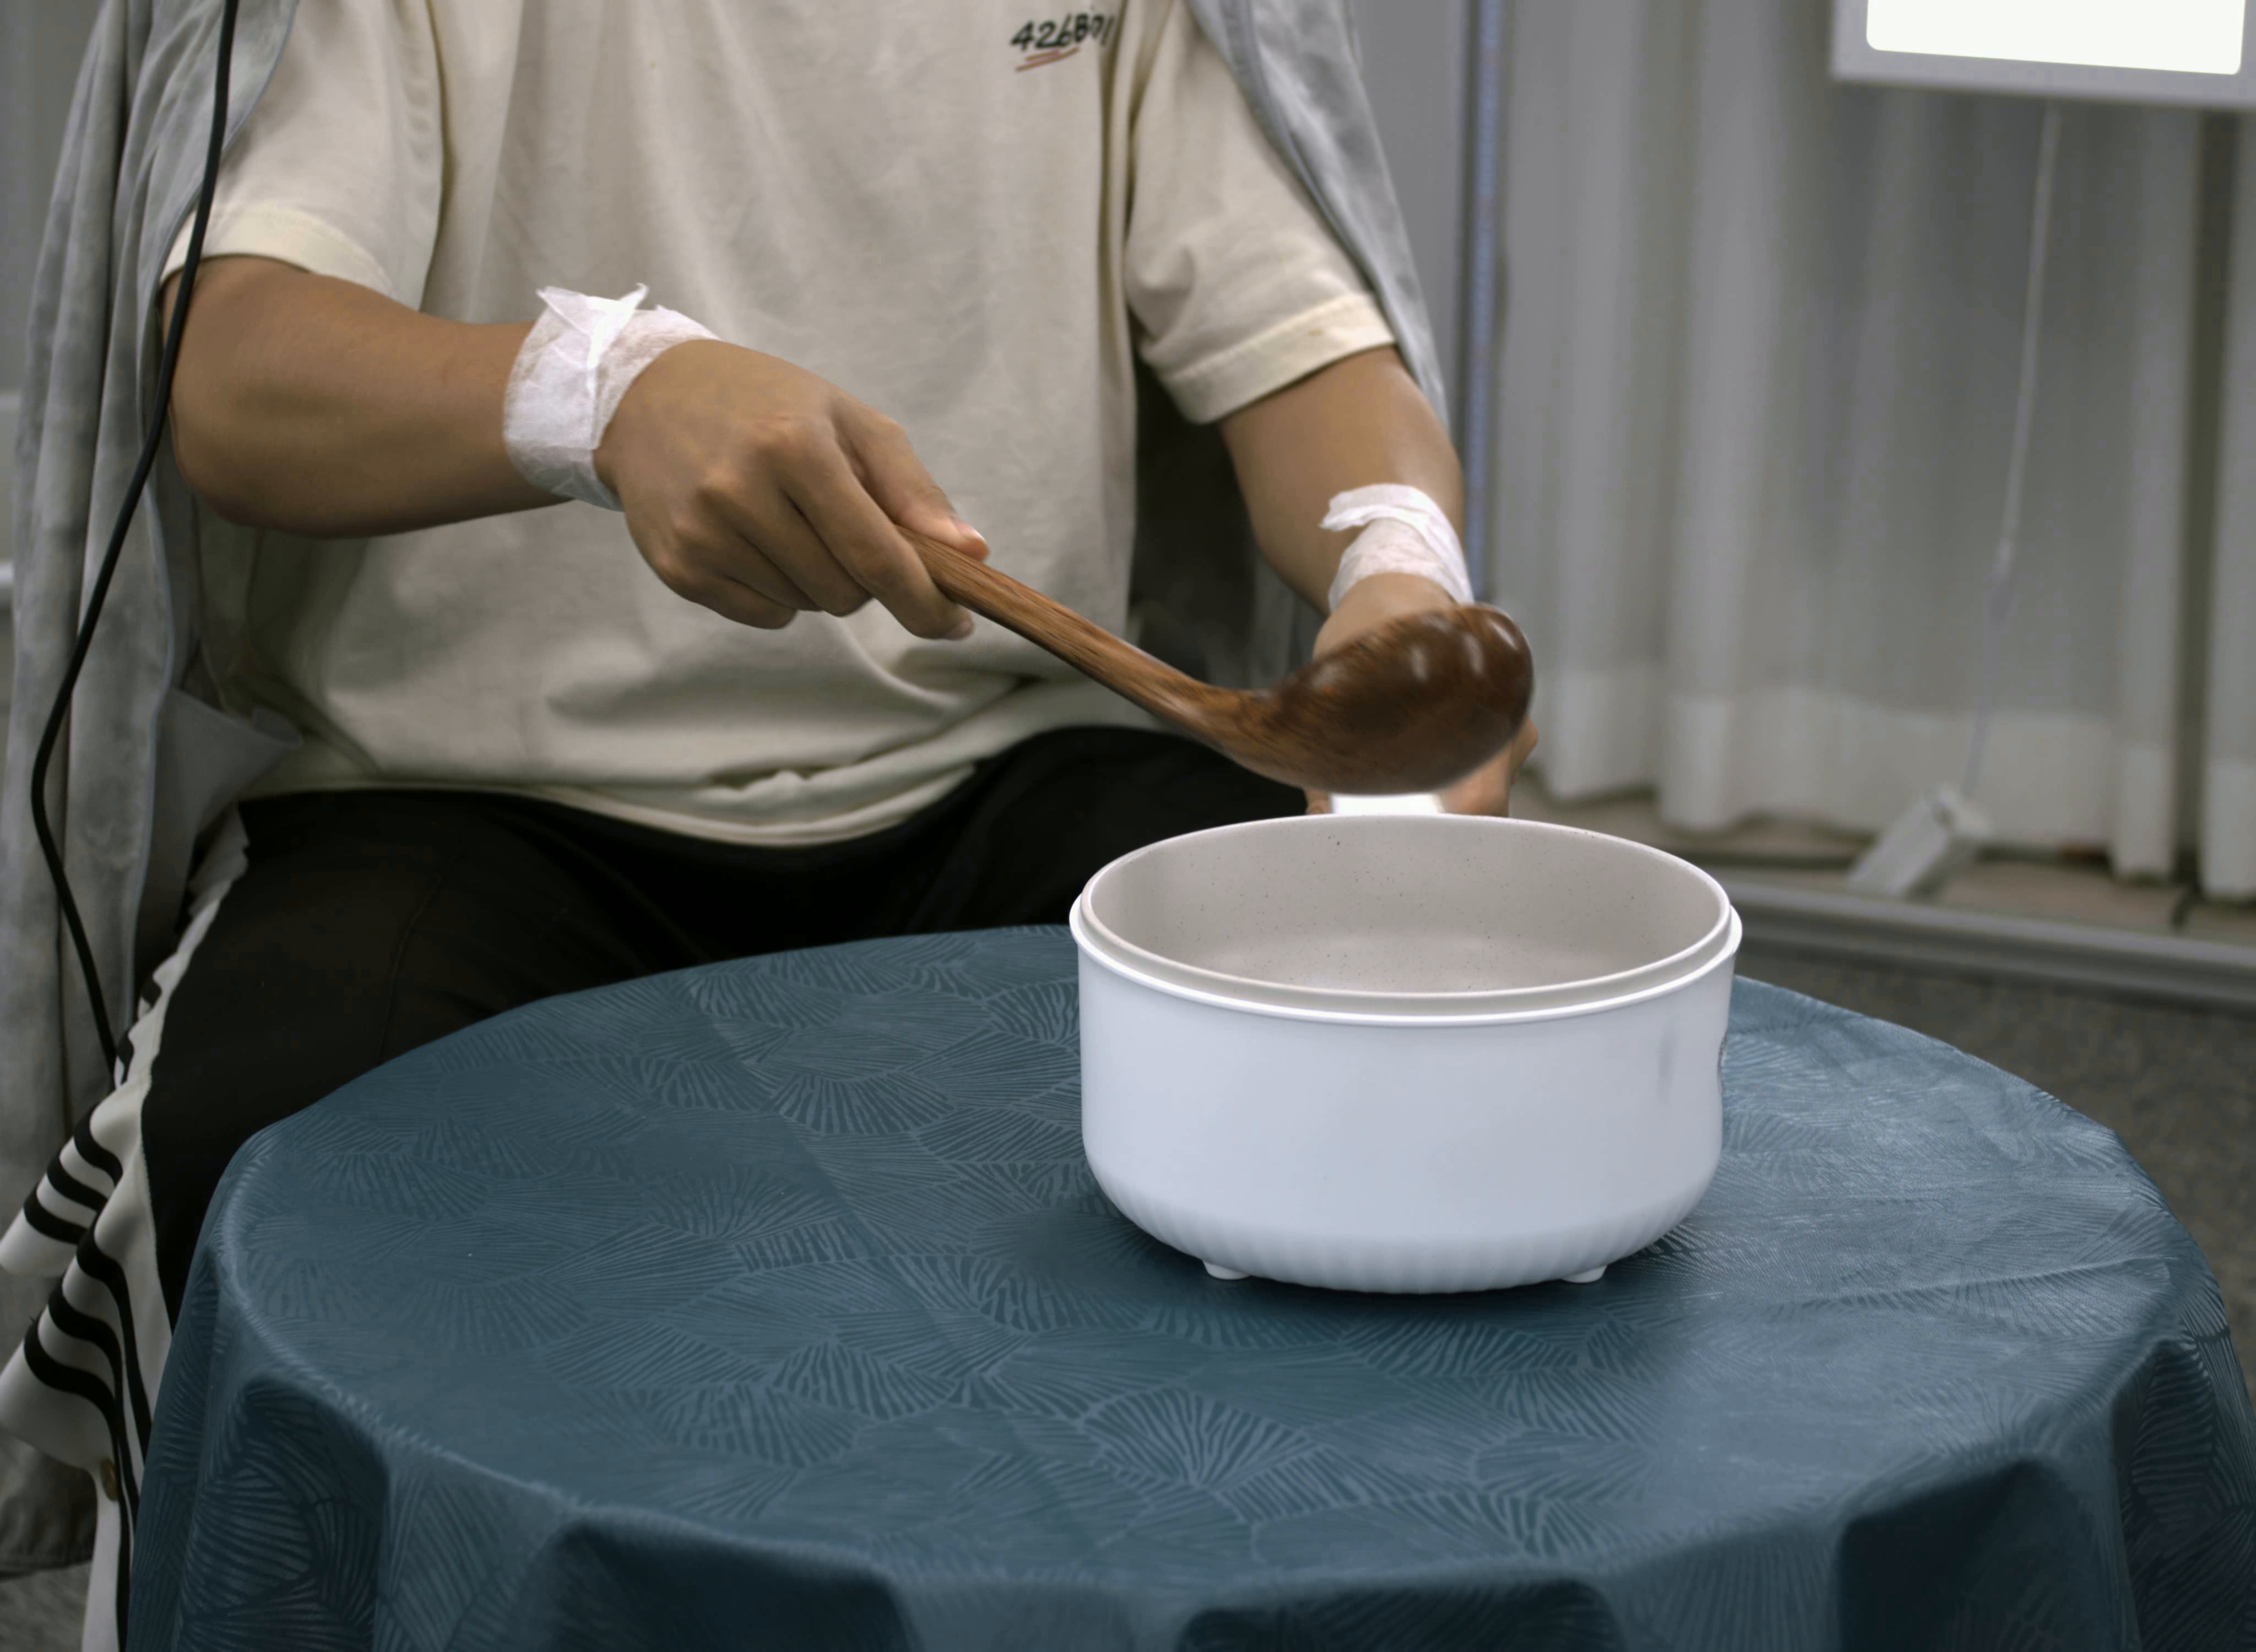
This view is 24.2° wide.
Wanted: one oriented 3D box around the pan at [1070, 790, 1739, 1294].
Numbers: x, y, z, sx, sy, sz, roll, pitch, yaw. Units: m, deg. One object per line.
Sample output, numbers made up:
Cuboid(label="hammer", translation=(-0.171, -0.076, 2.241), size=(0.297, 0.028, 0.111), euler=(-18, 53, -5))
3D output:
Cuboid(label="pan", translation=(0.085, 0.051, 1.665), size=(0.200, 0.103, 0.353), euler=(0, 15, 1))

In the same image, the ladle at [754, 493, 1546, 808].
Cuboid(label="ladle", translation=(0.005, -0.075, 1.629), size=(0.270, 0.083, 0.076), euler=(26, 70, 30))
